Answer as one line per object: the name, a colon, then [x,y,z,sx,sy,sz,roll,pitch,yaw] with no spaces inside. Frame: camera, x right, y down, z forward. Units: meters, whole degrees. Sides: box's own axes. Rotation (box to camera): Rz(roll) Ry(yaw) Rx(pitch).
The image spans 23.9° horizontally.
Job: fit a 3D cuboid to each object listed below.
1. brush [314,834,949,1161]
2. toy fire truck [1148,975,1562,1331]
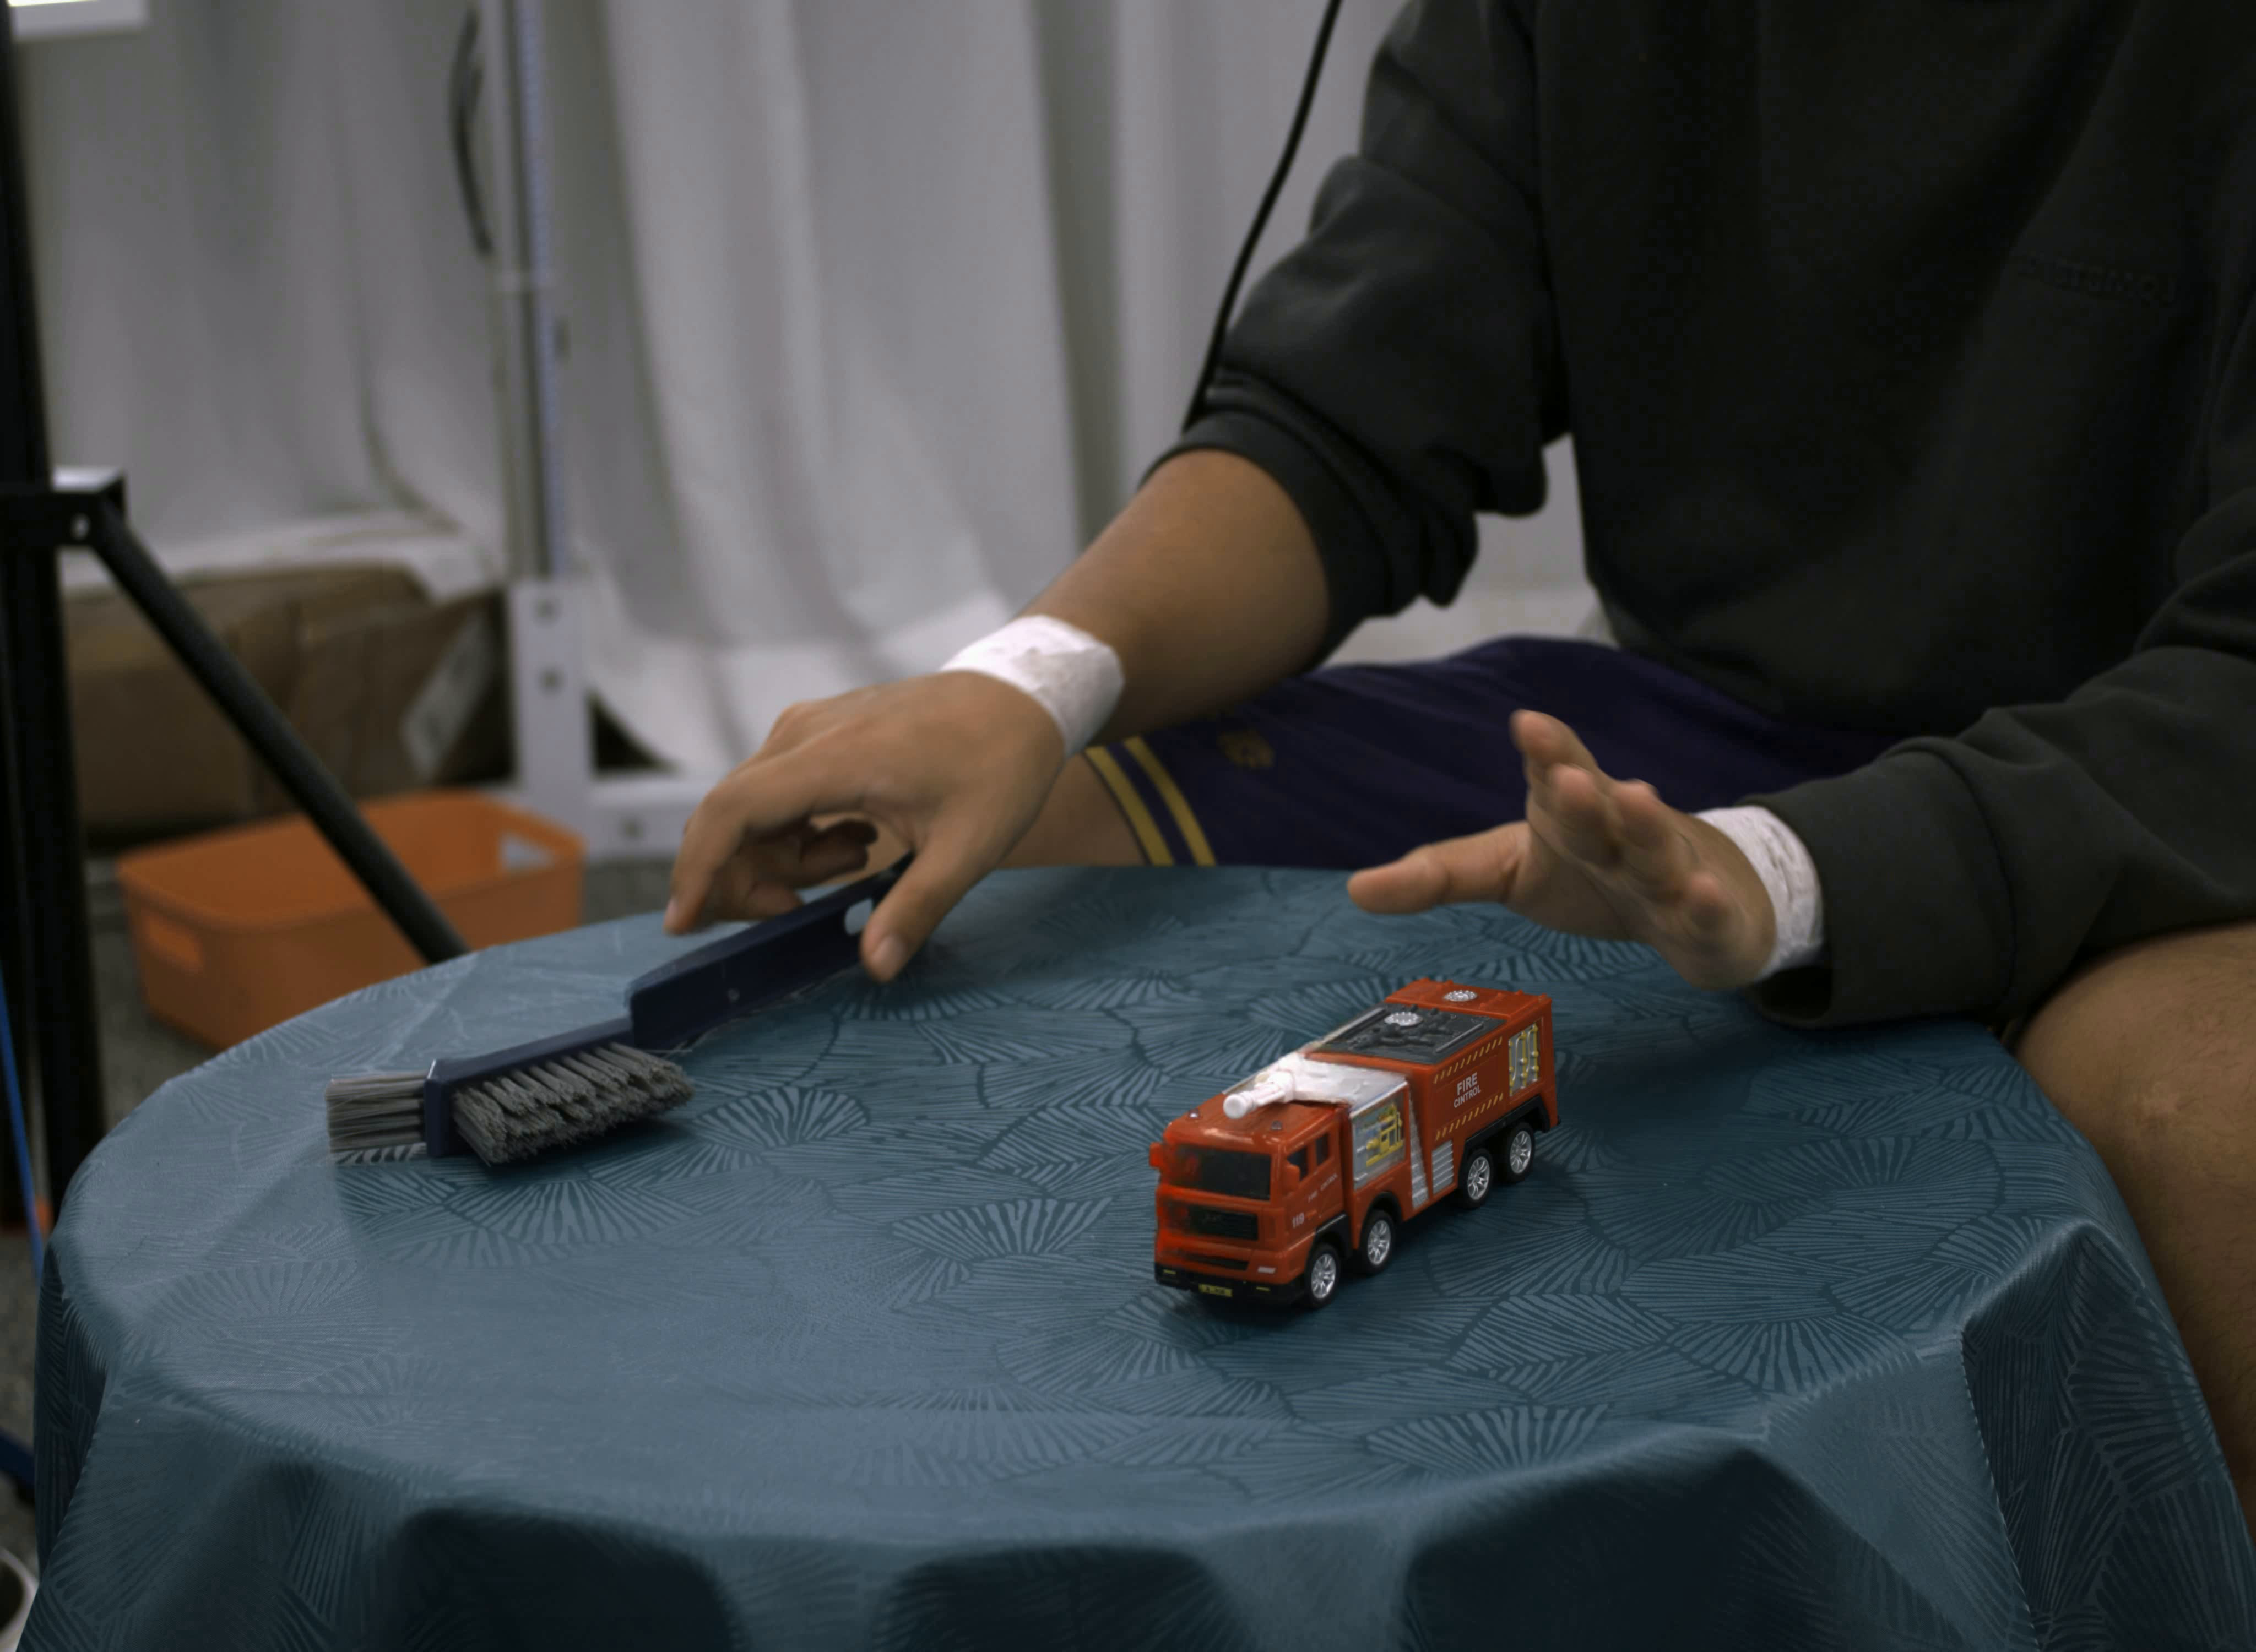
brush: [-0.148,0.054,1.717,0.097,0.033,0.269,6,19,26]
toy fire truck: [0.066,0.089,1.507,0.055,0.070,0.165,7,18,32]
